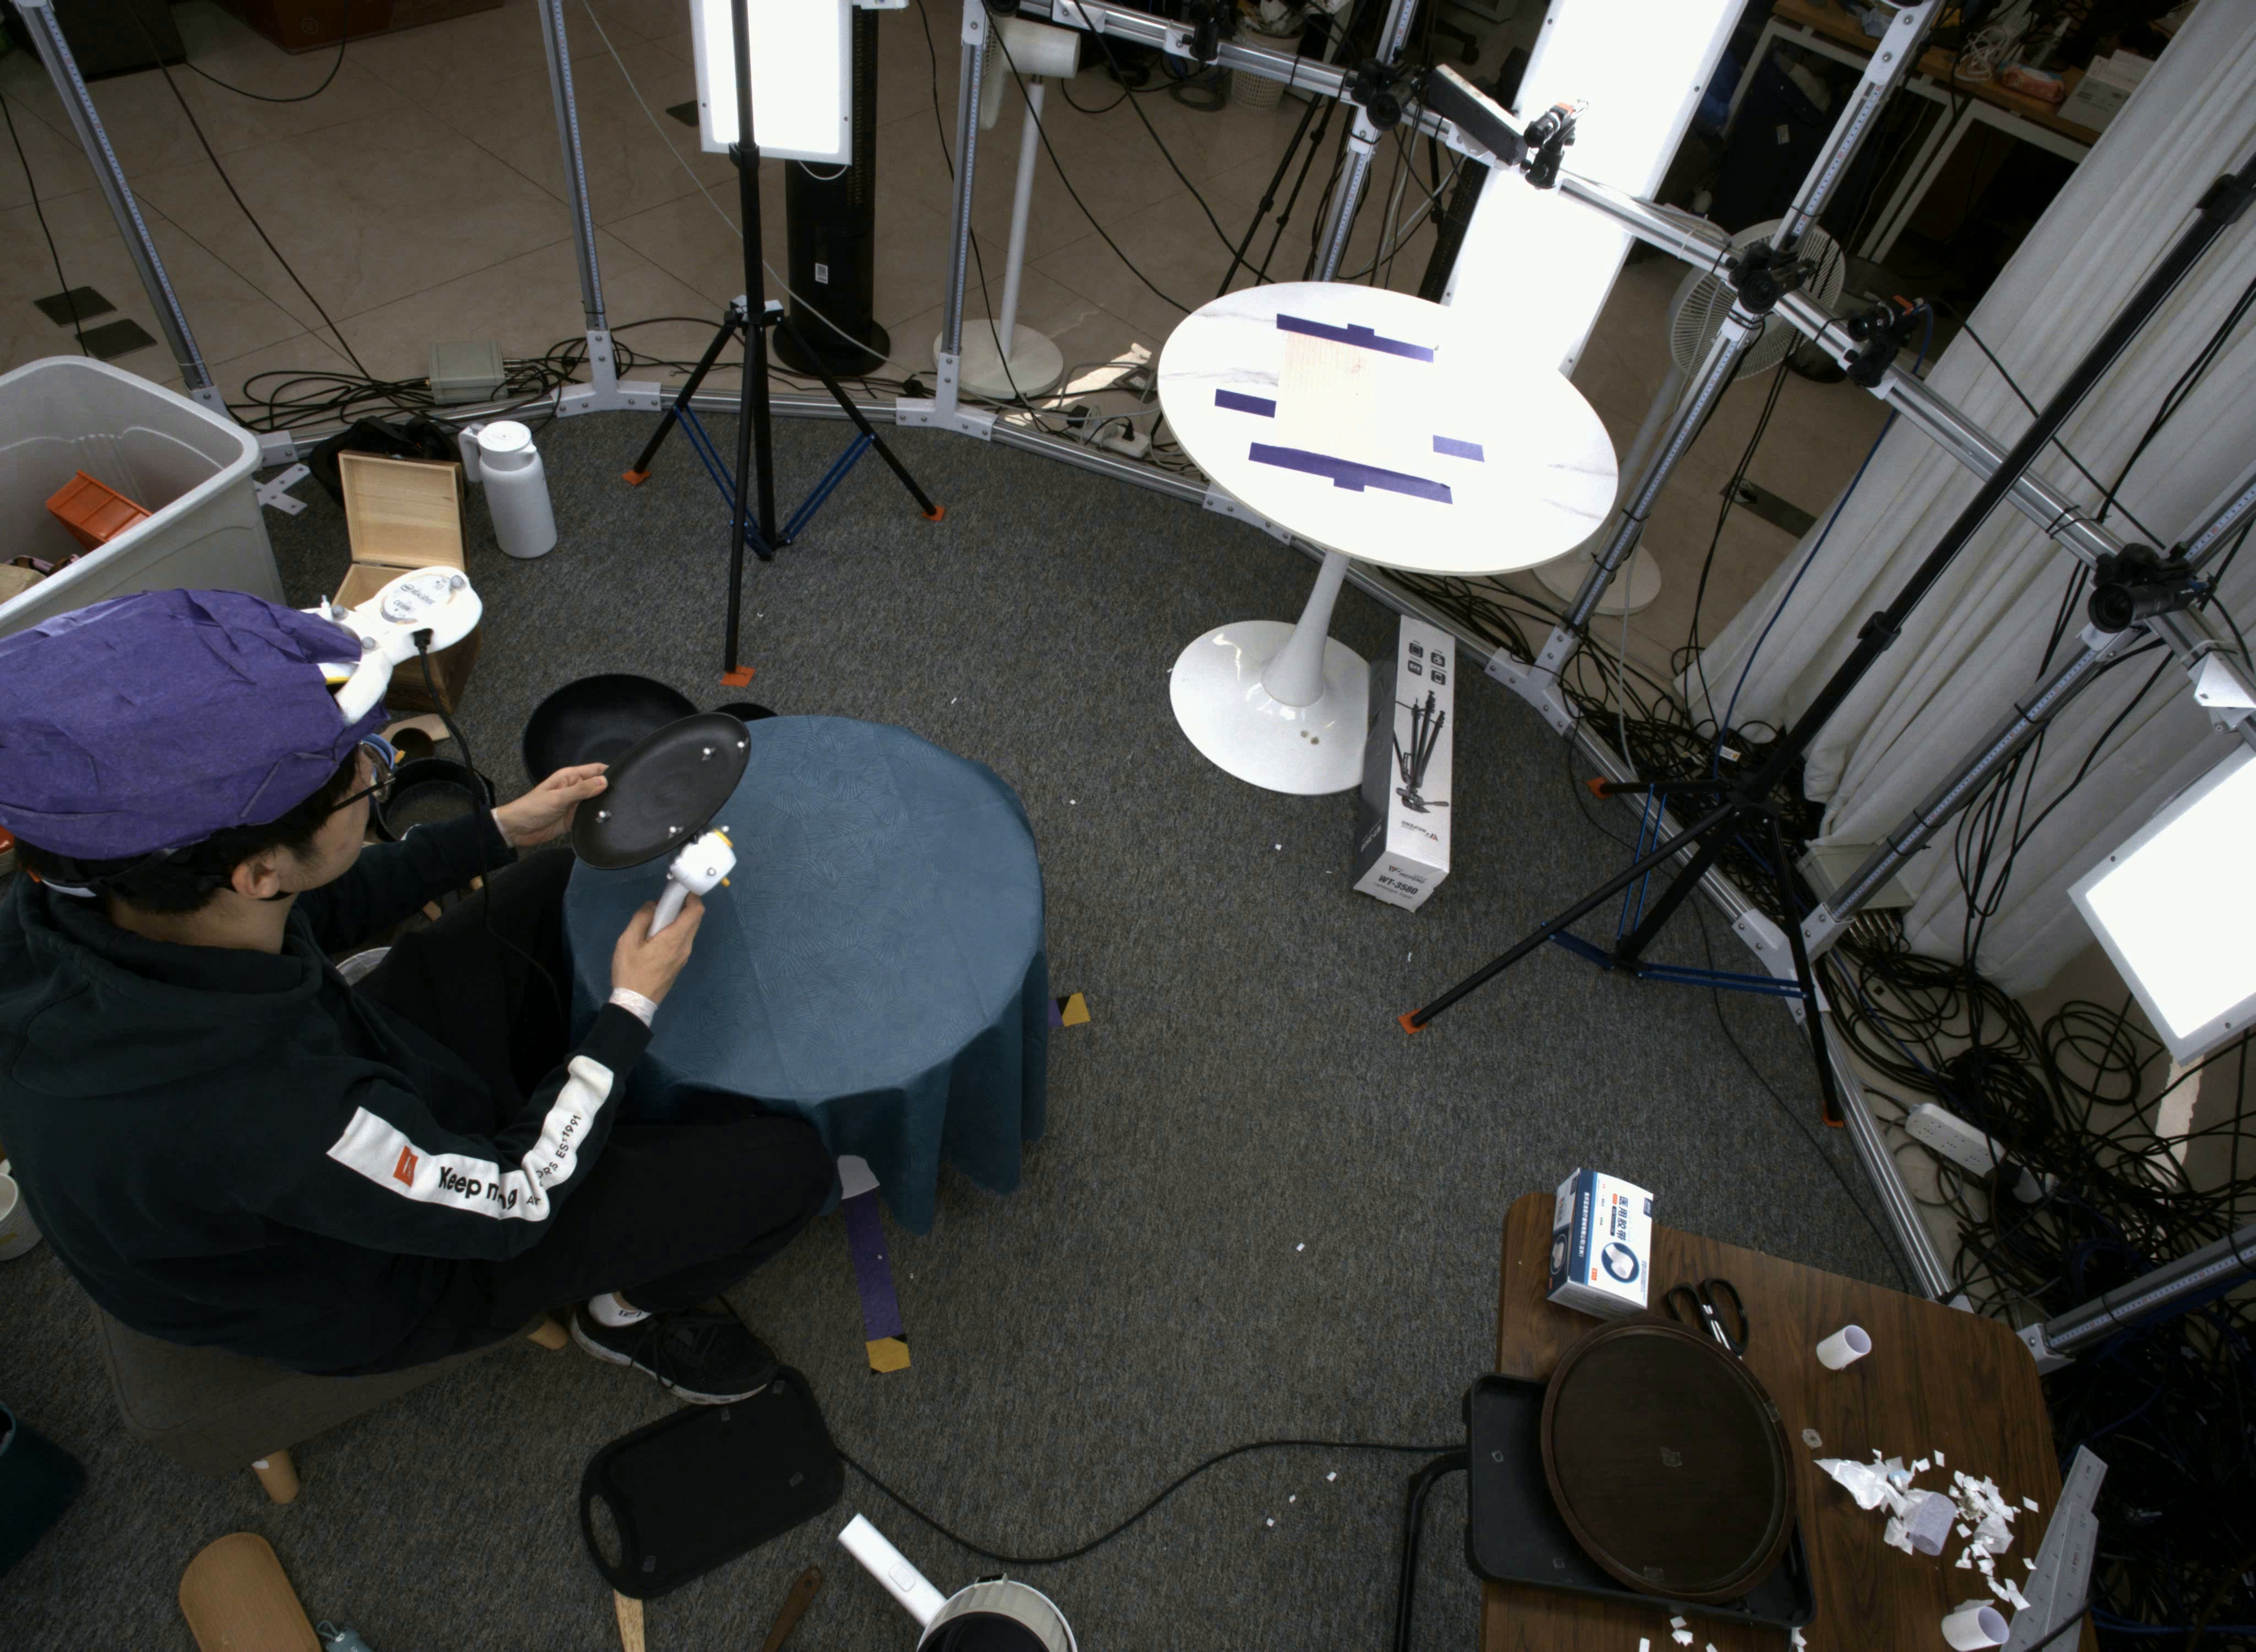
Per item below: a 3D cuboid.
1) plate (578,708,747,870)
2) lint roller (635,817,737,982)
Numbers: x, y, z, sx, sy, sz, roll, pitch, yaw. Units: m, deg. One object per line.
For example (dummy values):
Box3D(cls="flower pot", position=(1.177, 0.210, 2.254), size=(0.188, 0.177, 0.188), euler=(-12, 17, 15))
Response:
Box3D(cls="plate", position=(-0.540, -0.041, 1.489), size=(0.239, 0.024, 0.239), euler=(-14, 46, 16))
Box3D(cls="lint roller", position=(-0.512, 0.083, 1.456), size=(0.076, 0.187, 0.193), euler=(38, 86, -24))
